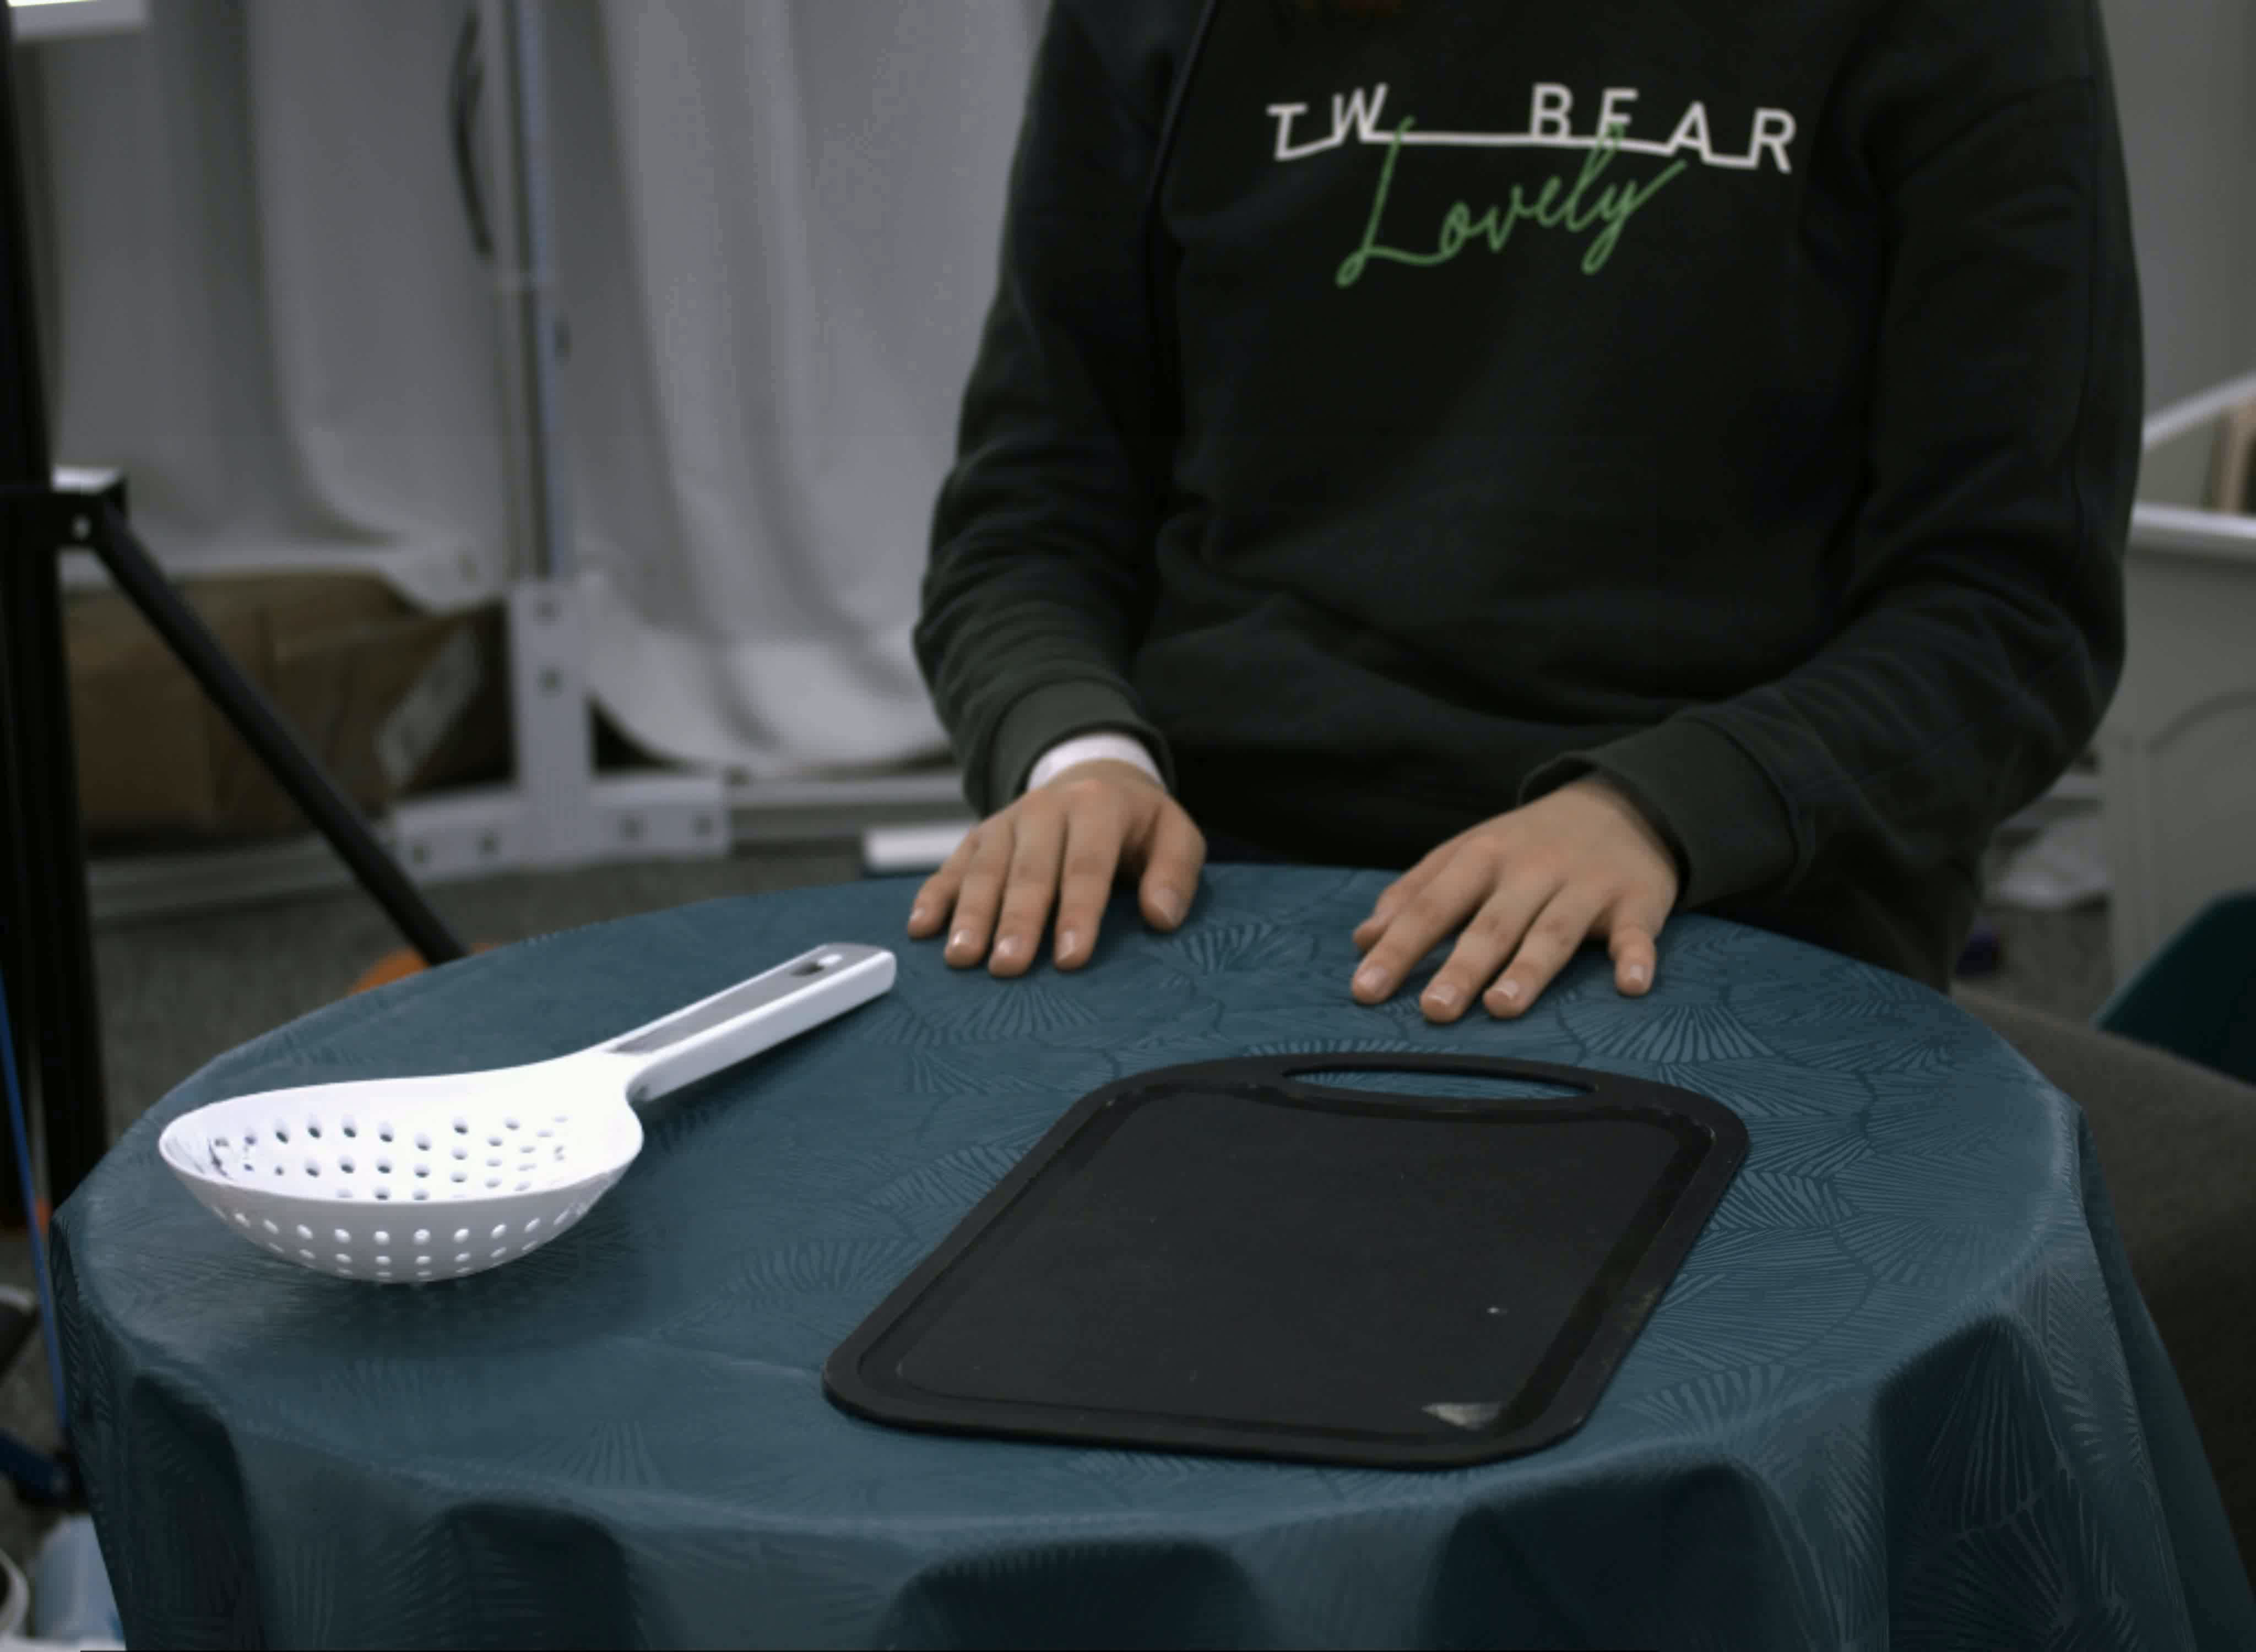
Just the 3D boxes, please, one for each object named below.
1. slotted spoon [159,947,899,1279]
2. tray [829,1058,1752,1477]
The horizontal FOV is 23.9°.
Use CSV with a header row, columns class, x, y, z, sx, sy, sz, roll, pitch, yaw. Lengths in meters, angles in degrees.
class,x,y,z,sx,sy,sz,roll,pitch,yaw
slotted spoon,-0.161,0.077,1.611,0.138,0.046,0.344,7,18,25
tray,0.055,0.116,1.507,0.213,0.010,0.322,3,16,18
